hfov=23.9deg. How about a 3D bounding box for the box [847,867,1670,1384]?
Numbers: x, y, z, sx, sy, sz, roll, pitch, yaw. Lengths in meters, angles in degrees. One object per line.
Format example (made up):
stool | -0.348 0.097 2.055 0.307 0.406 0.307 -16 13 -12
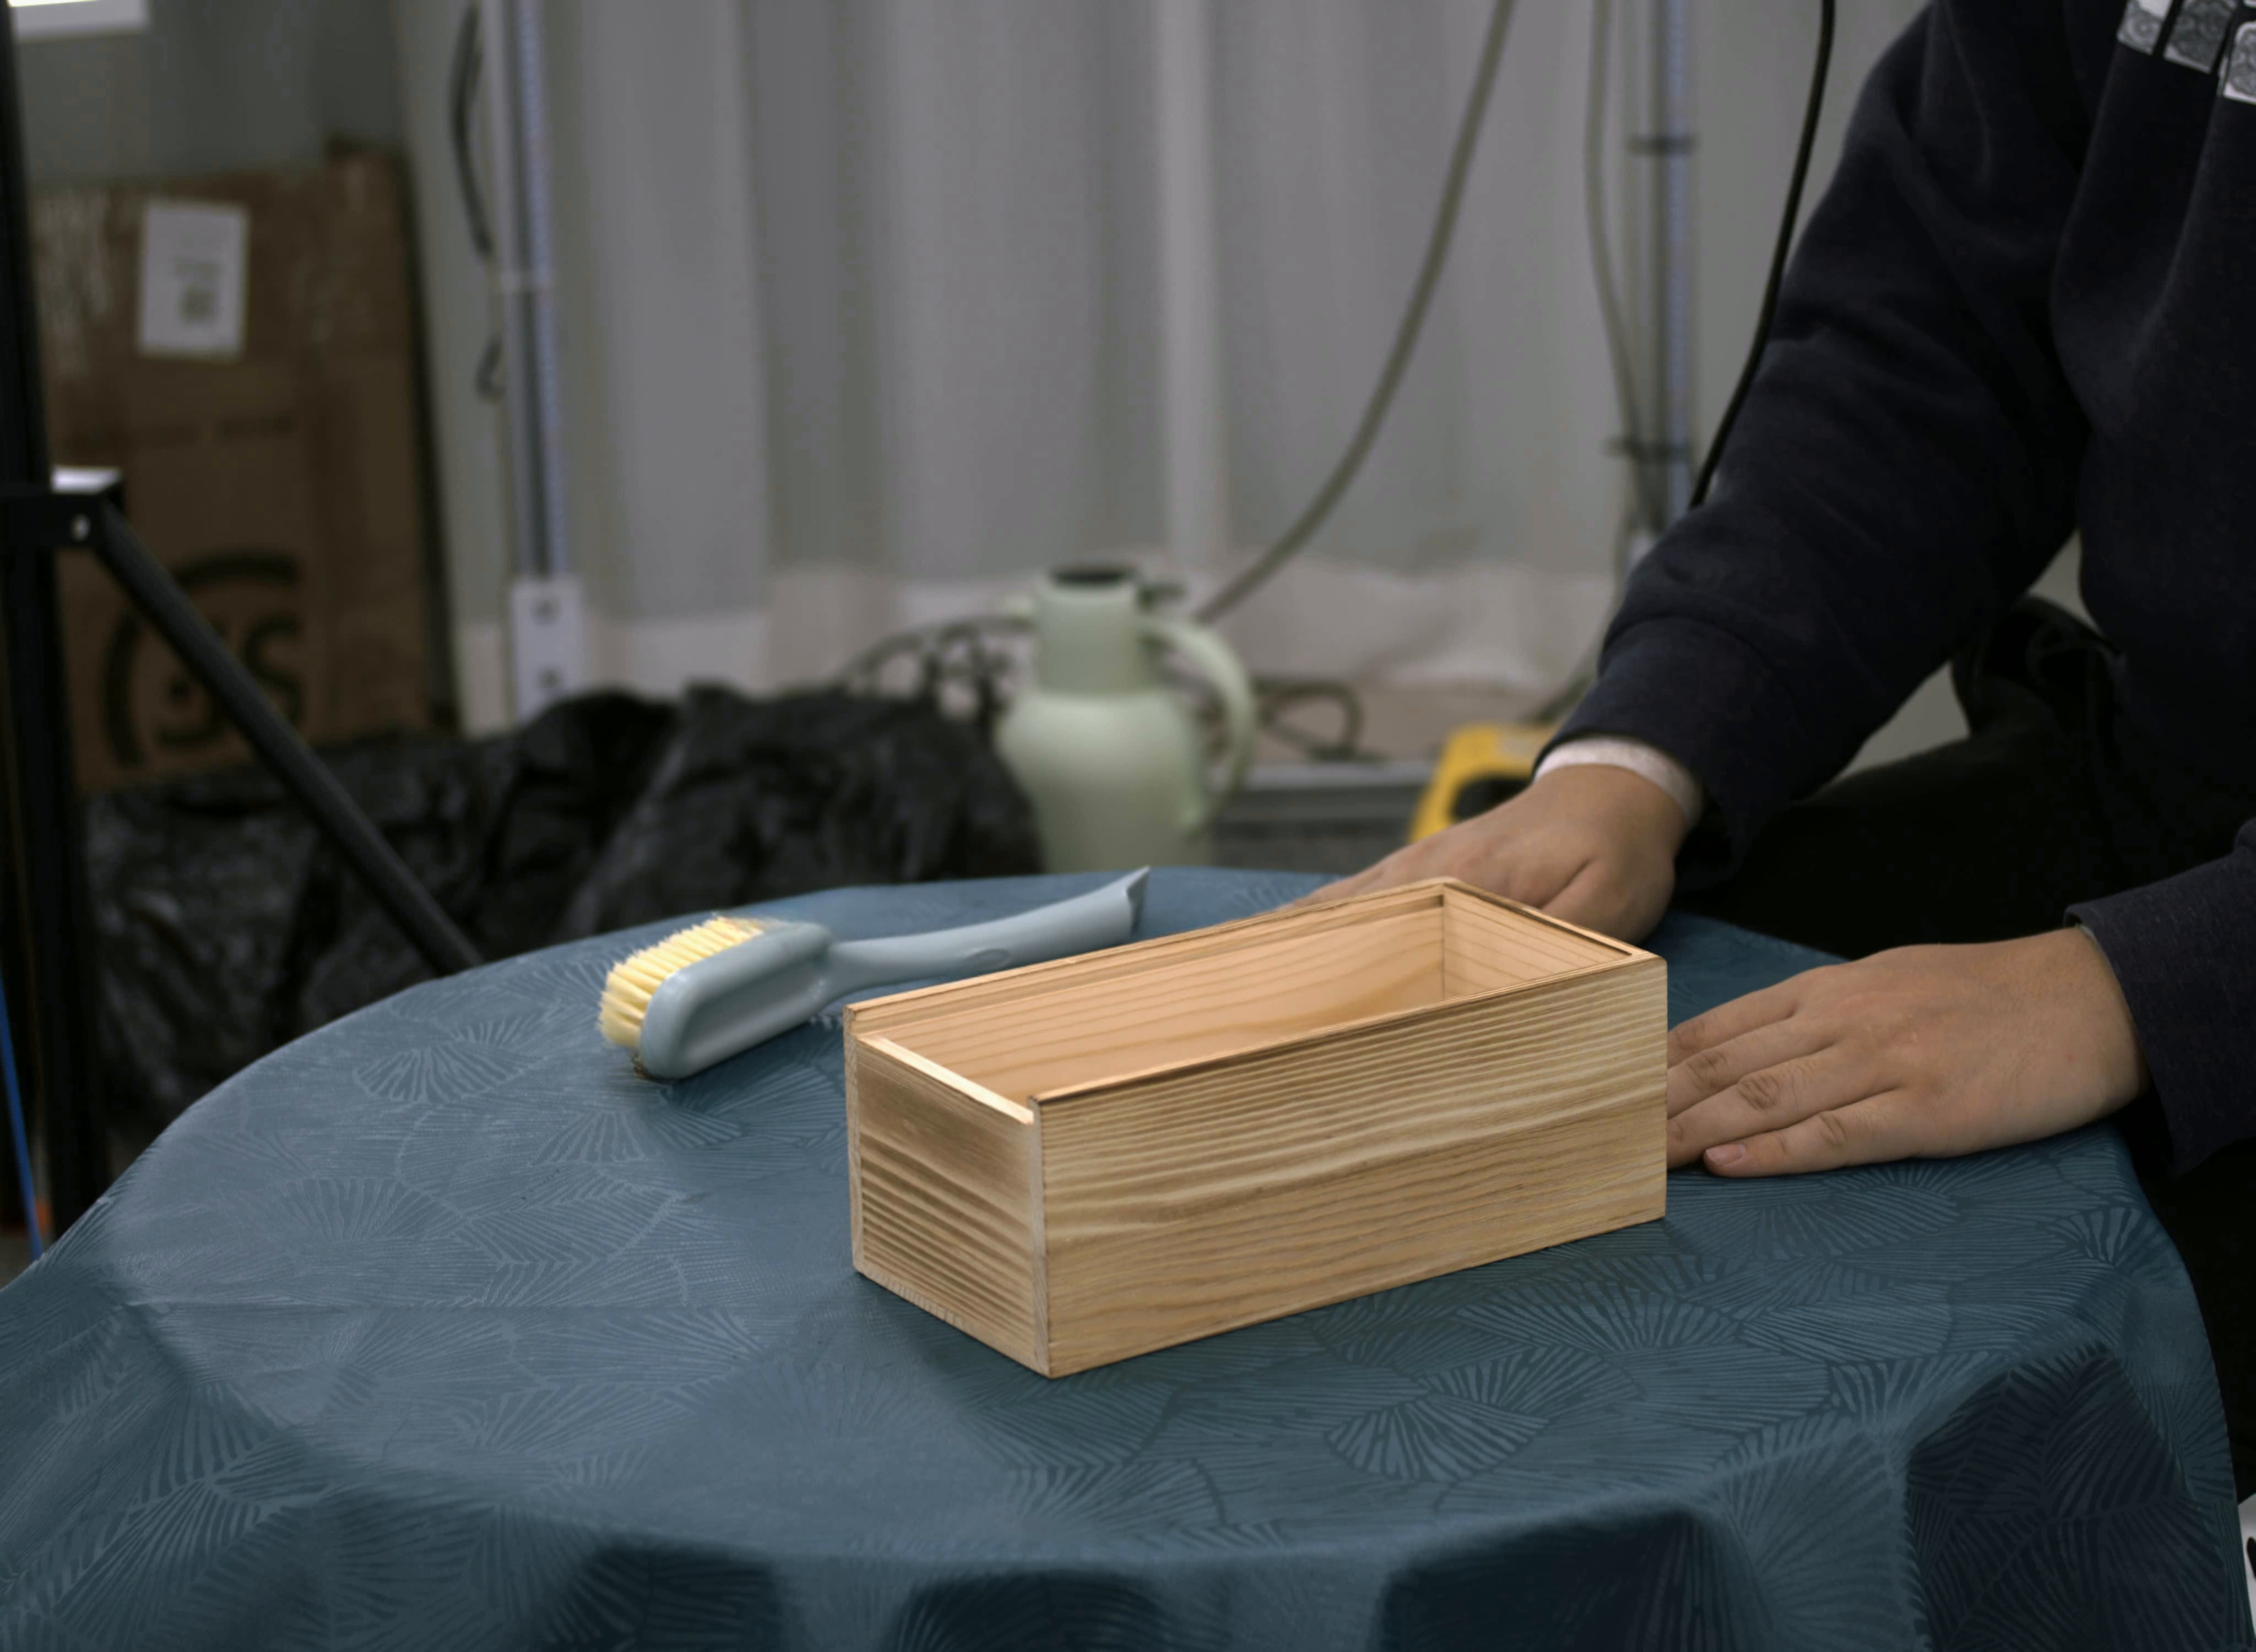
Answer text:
box | 0.039 0.081 1.499 0.207 0.080 0.110 -12 19 -30

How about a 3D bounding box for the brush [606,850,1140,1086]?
brush | -0.078 0.039 1.742 0.223 0.038 0.051 -17 29 -40
